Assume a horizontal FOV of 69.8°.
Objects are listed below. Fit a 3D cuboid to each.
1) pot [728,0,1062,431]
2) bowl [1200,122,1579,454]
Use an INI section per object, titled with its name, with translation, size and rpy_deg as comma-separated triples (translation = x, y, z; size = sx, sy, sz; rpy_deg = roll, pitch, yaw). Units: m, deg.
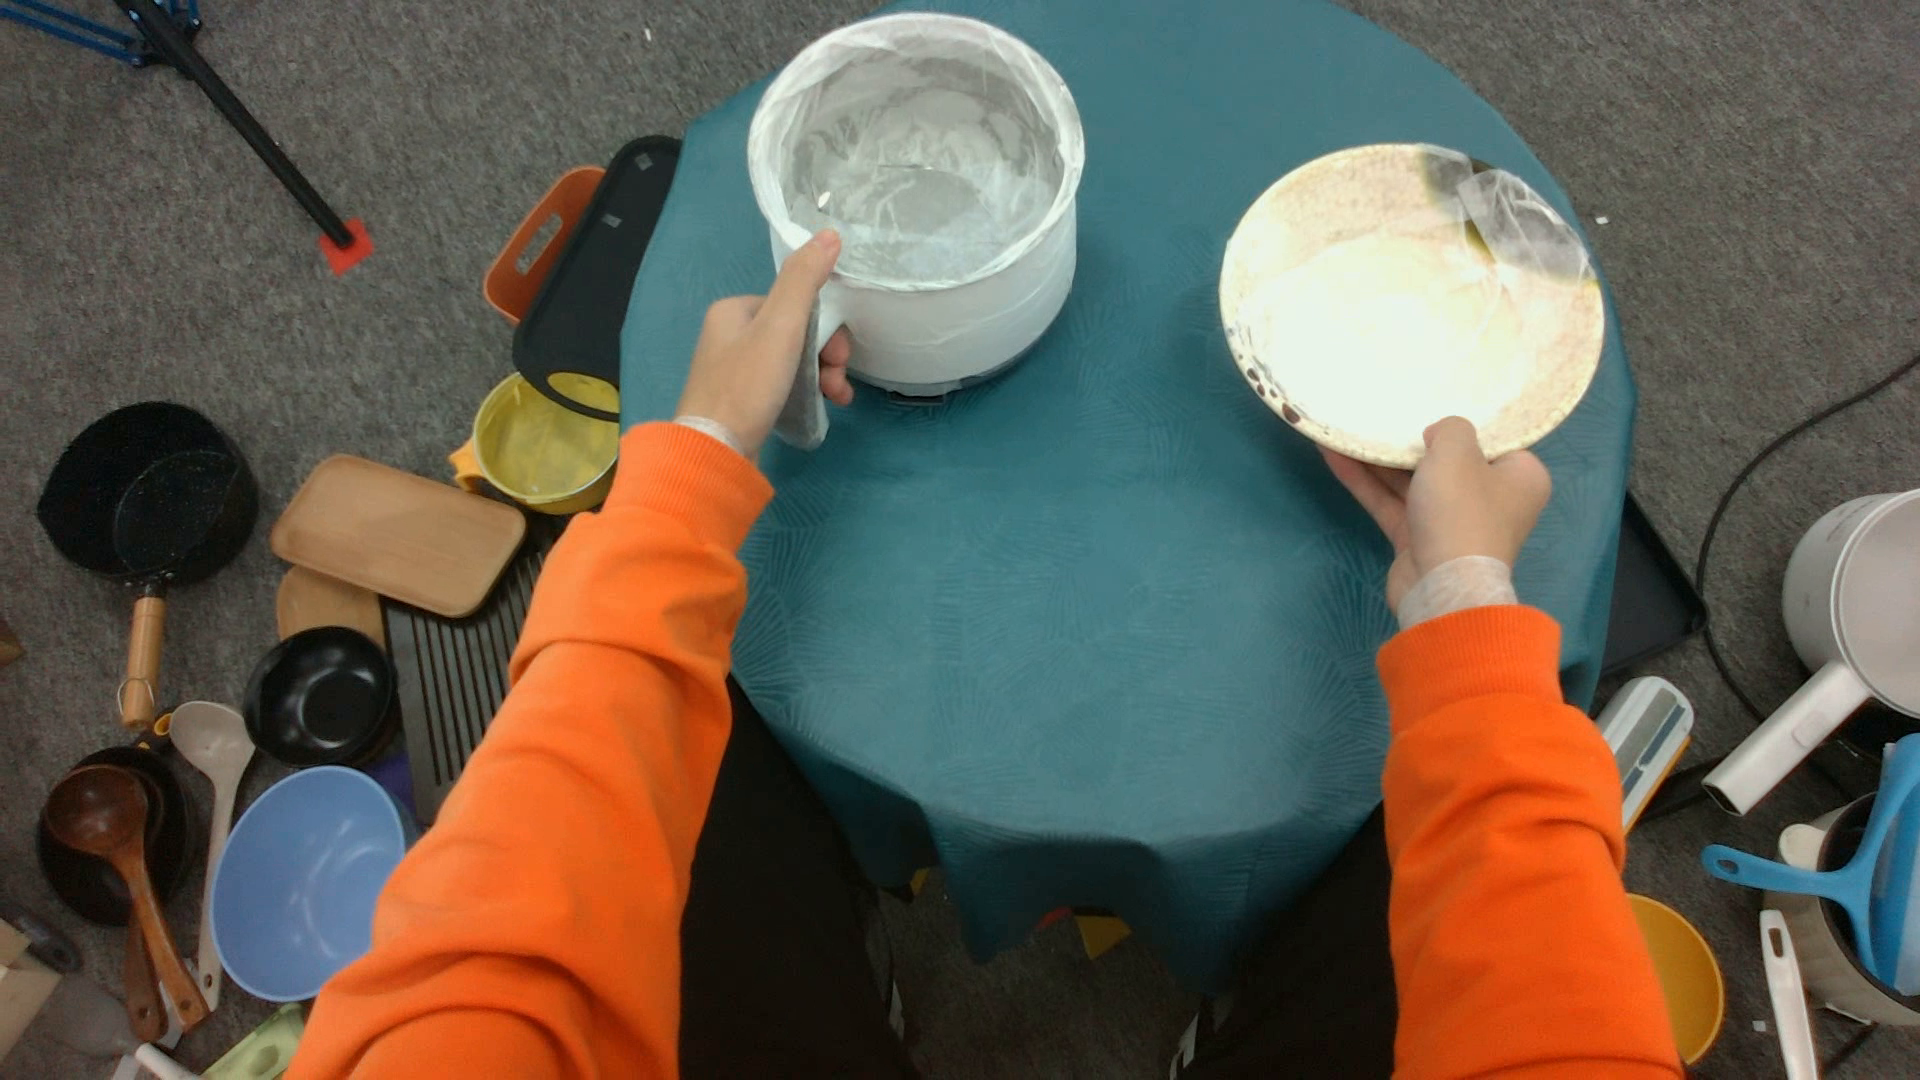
[pot]
translation = -0.047, -0.172, 0.773
size = 0.179, 0.136, 0.234
rpy_deg = 29, 71, 12
[bowl]
translation = 0.235, -0.131, 0.786
size = 0.204, 0.078, 0.204
rpy_deg = -1, 71, 2
